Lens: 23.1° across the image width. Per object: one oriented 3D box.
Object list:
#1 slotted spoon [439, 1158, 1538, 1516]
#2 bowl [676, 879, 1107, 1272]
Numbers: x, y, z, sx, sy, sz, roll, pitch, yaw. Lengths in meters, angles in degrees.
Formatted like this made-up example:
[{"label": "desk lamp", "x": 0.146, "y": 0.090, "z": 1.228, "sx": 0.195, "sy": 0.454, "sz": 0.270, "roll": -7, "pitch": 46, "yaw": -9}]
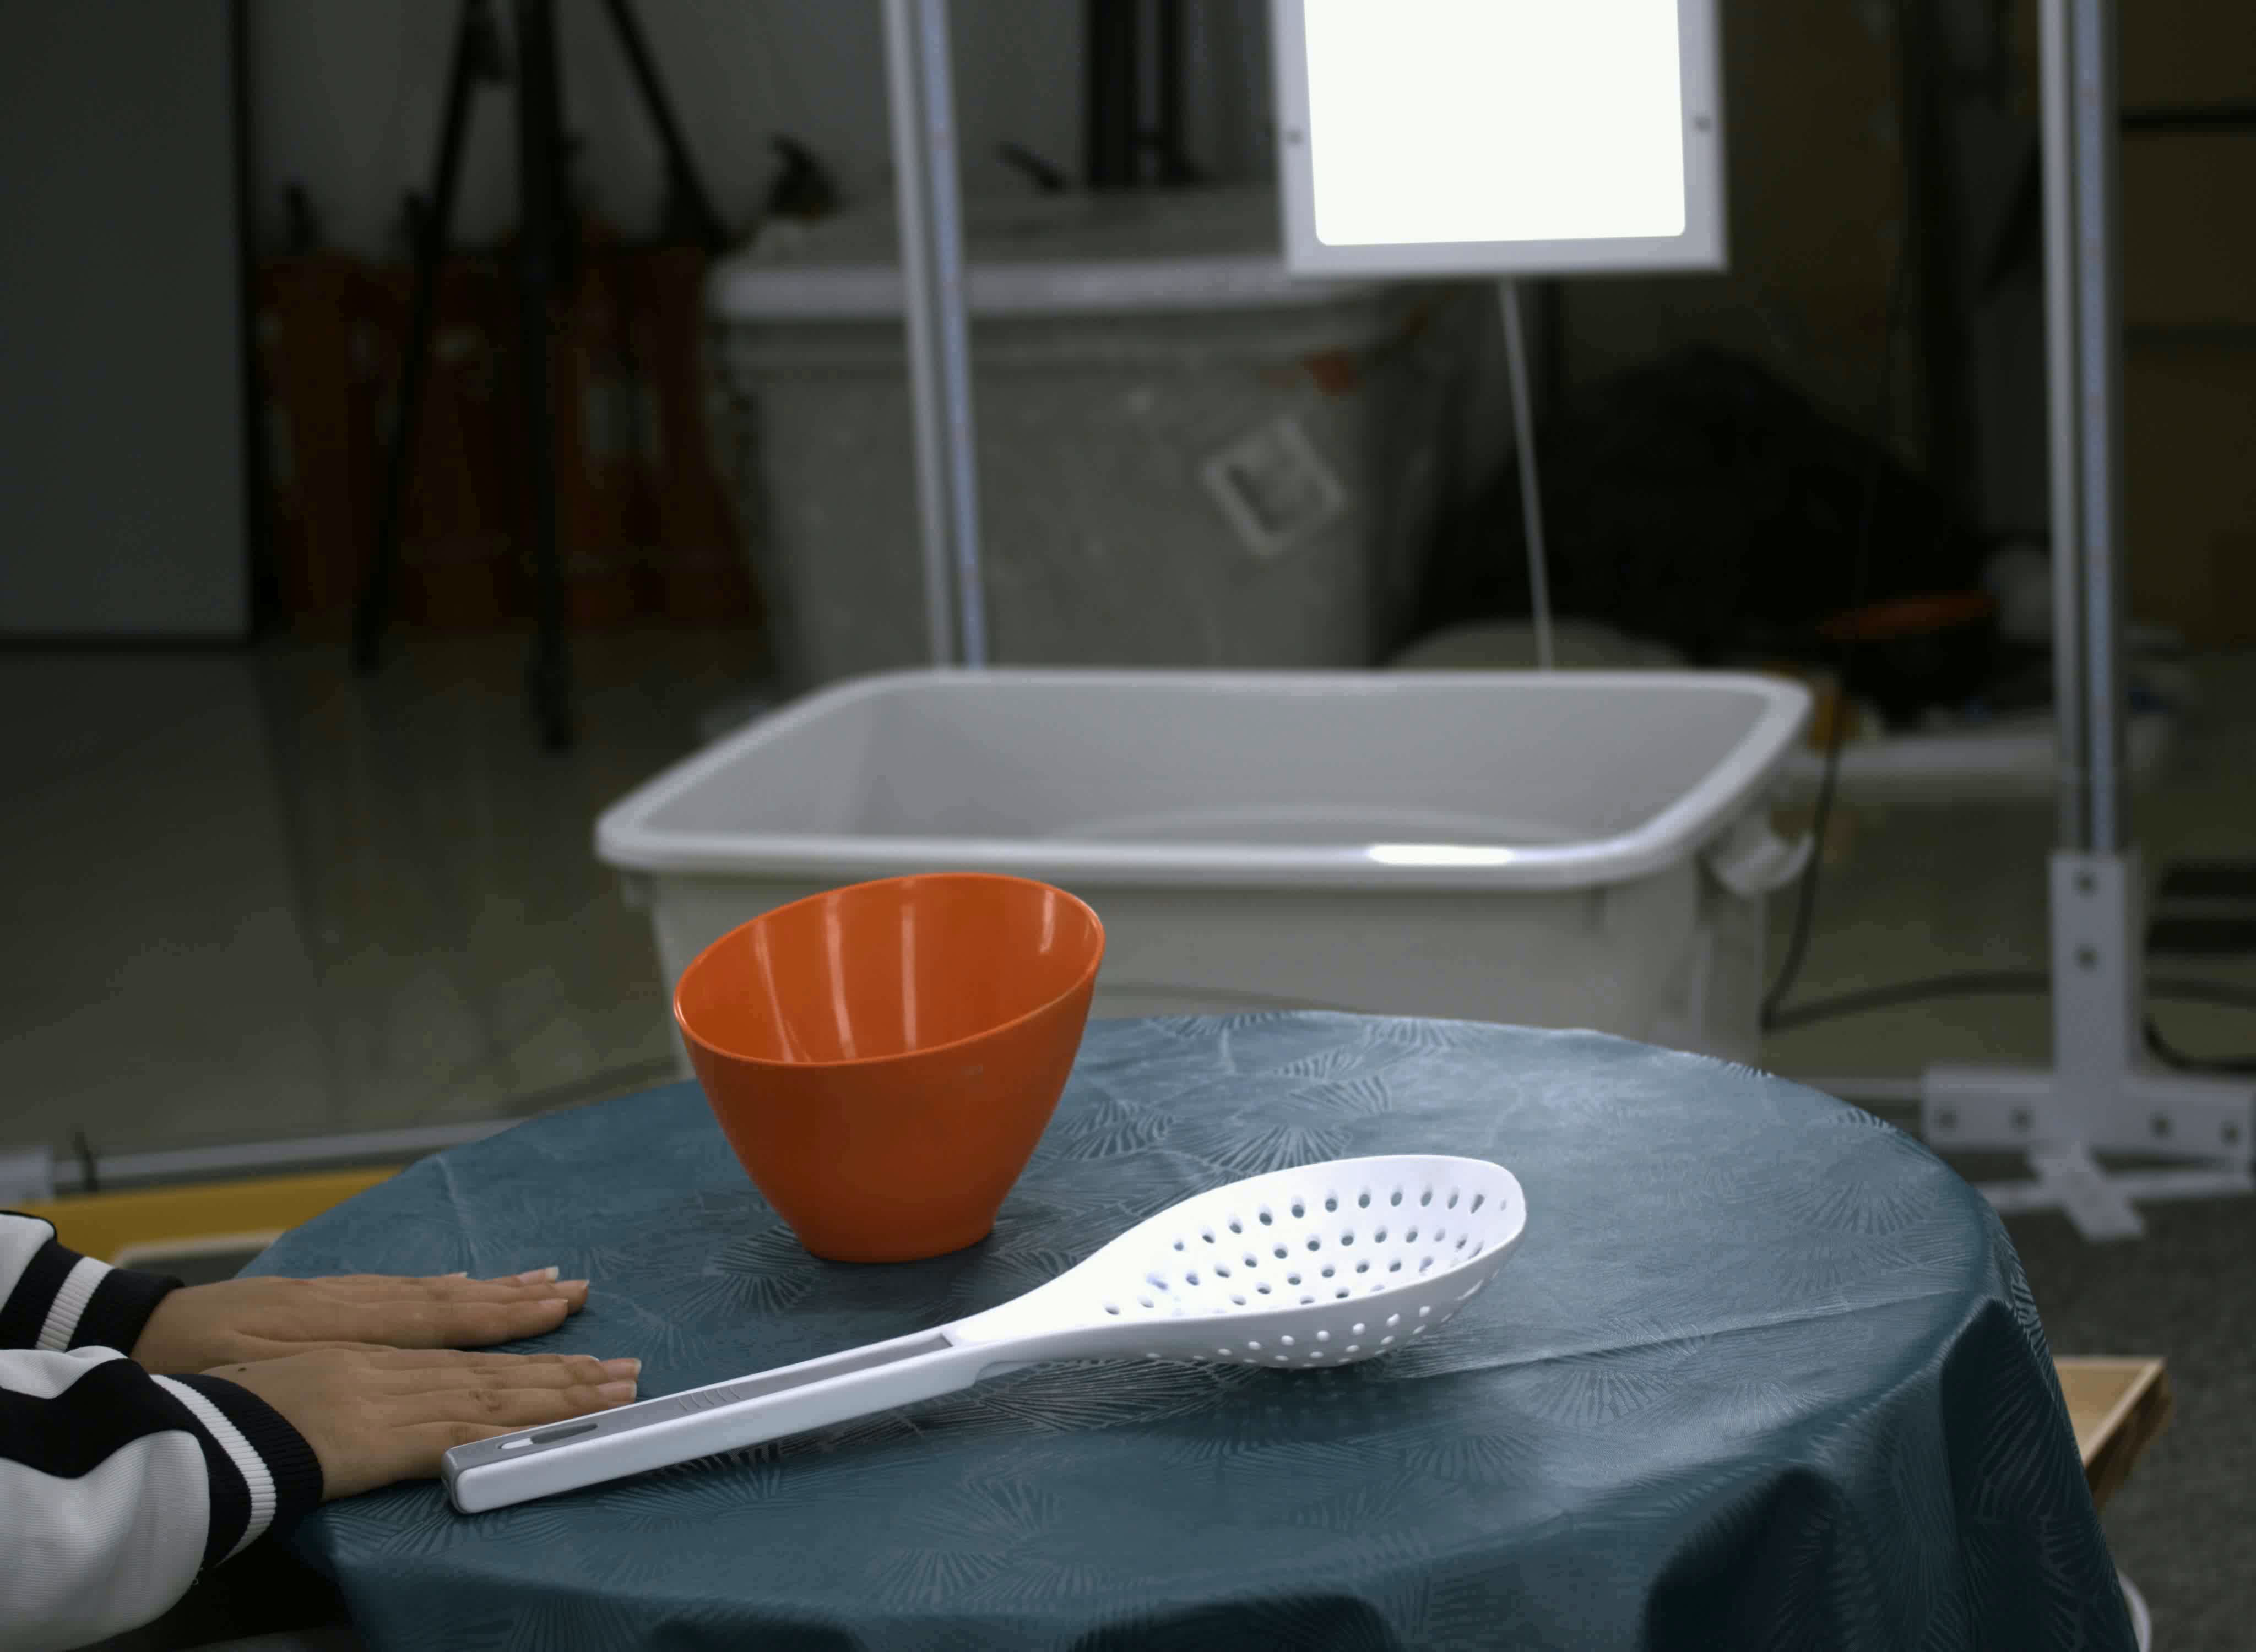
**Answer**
[{"label": "slotted spoon", "x": -0.039, "y": 0.158, "z": 1.689, "sx": 0.345, "sy": 0.046, "sz": 0.137, "roll": -9, "pitch": 13, "yaw": -13}, {"label": "bowl", "x": -0.078, "y": 0.088, "z": 1.874, "sx": 0.147, "sy": 0.105, "sz": 0.148, "roll": -4, "pitch": 15, "yaw": 0}]
